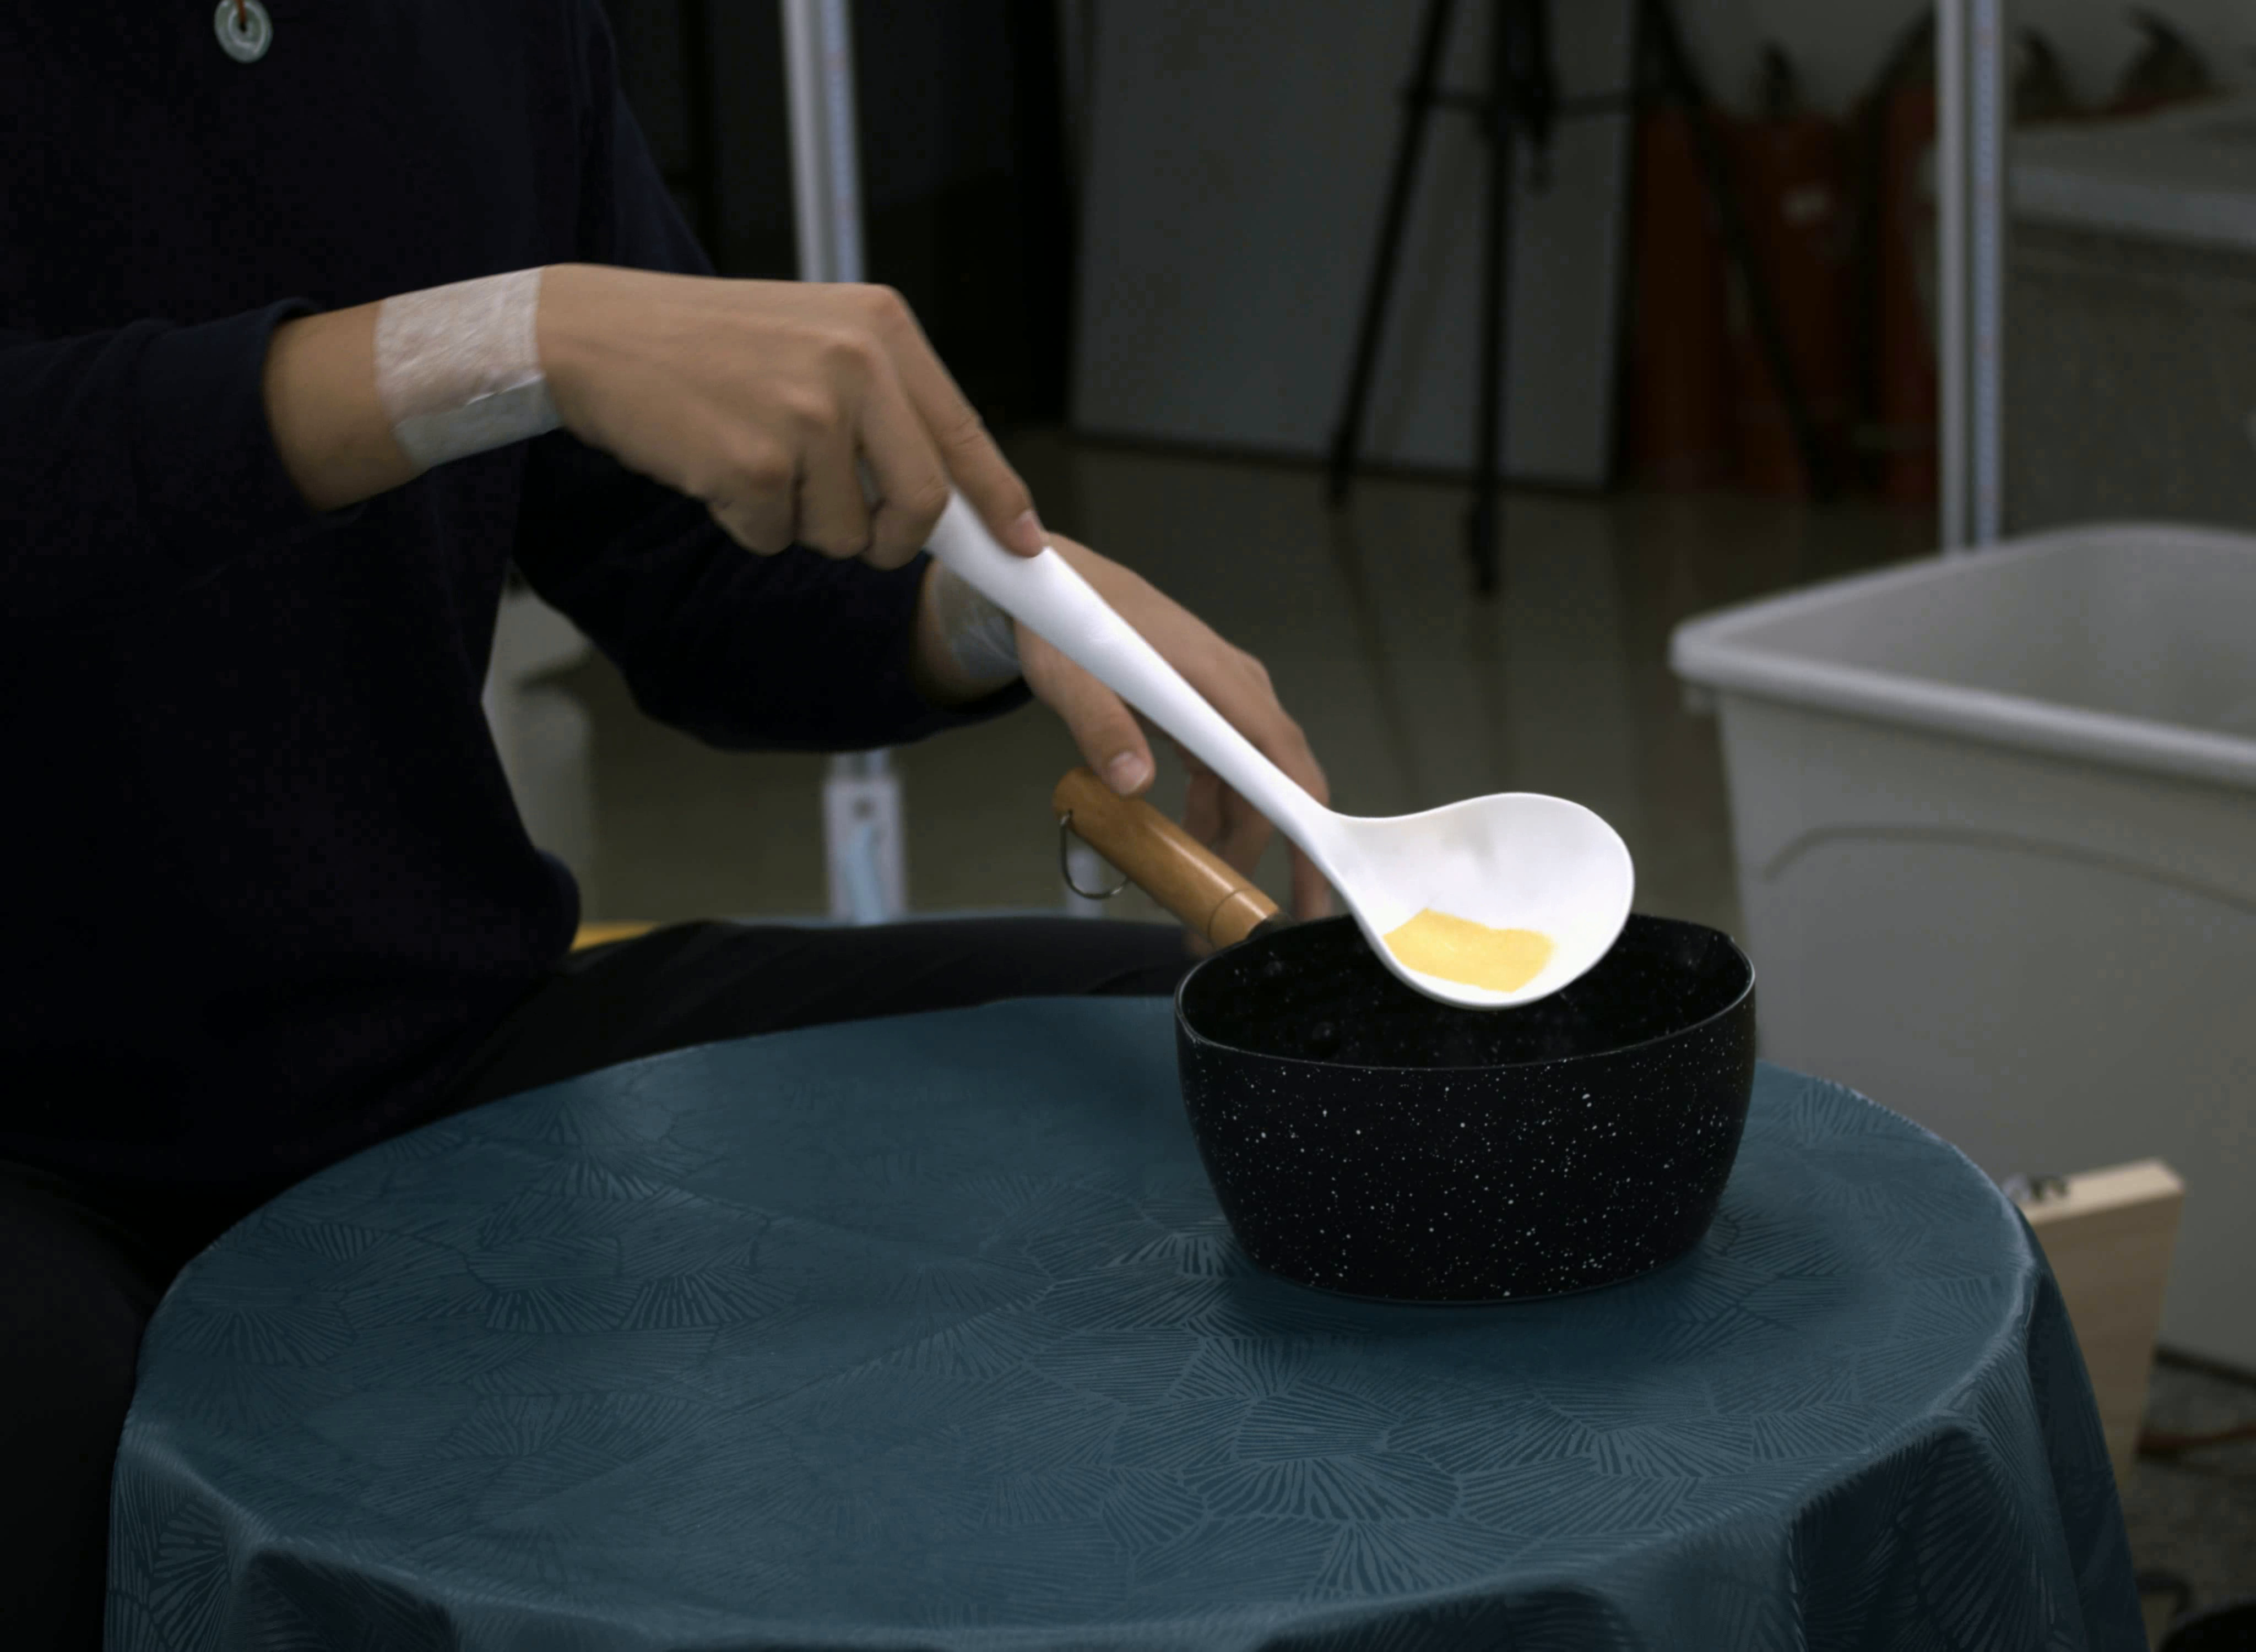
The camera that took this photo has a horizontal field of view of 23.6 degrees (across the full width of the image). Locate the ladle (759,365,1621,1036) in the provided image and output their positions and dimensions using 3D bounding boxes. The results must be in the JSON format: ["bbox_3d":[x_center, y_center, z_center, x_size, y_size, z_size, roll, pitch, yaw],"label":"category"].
[{"bbox_3d":[0.017,-0.042,1.631,0.090,0.291,0.070,-54,8,-28],"label":"ladle"}]

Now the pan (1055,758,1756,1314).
[{"bbox_3d":[0.066,0.062,1.763,0.203,0.109,0.346,-13,17,-28],"label":"pan"}]
